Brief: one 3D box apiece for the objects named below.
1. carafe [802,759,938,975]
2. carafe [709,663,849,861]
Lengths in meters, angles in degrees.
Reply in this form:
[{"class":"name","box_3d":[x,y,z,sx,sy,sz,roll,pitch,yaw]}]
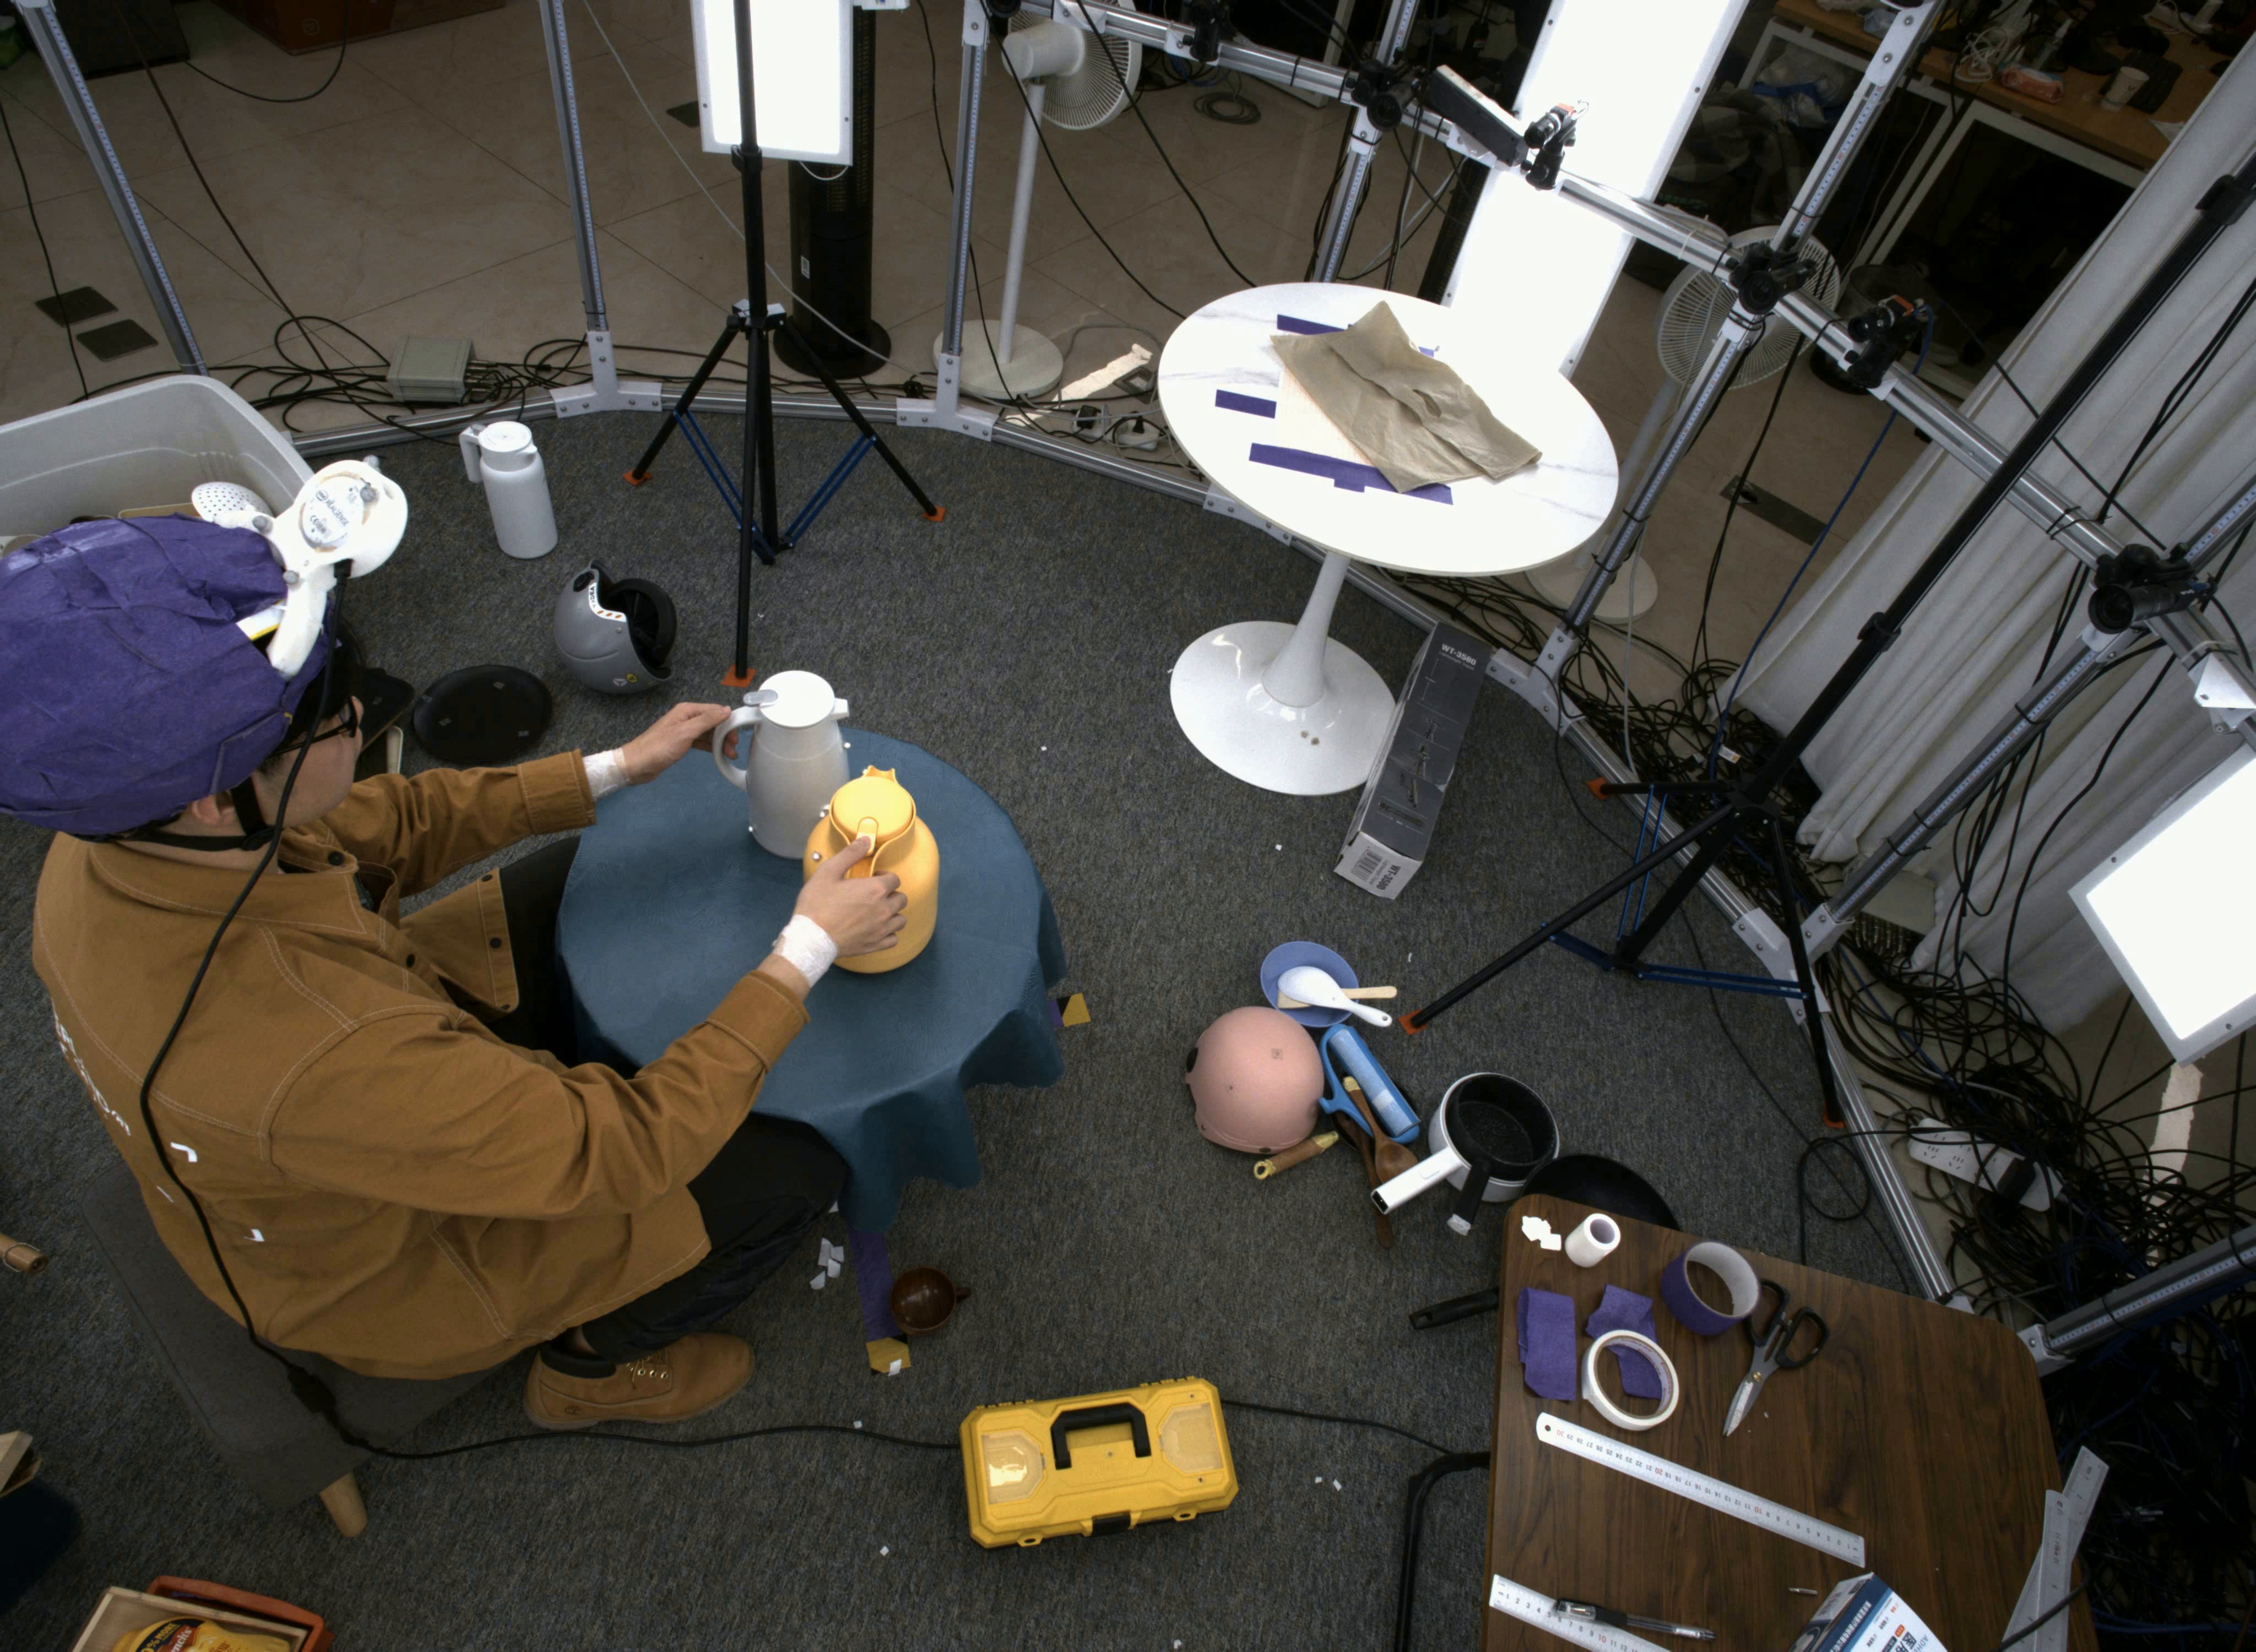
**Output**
[{"class":"carafe","box_3d":[-0.310,0.063,1.536,0.162,0.267,0.199,8,50,-3]},{"class":"carafe","box_3d":[-0.435,-0.084,1.620,0.168,0.254,0.129,-4,53,-14]}]
